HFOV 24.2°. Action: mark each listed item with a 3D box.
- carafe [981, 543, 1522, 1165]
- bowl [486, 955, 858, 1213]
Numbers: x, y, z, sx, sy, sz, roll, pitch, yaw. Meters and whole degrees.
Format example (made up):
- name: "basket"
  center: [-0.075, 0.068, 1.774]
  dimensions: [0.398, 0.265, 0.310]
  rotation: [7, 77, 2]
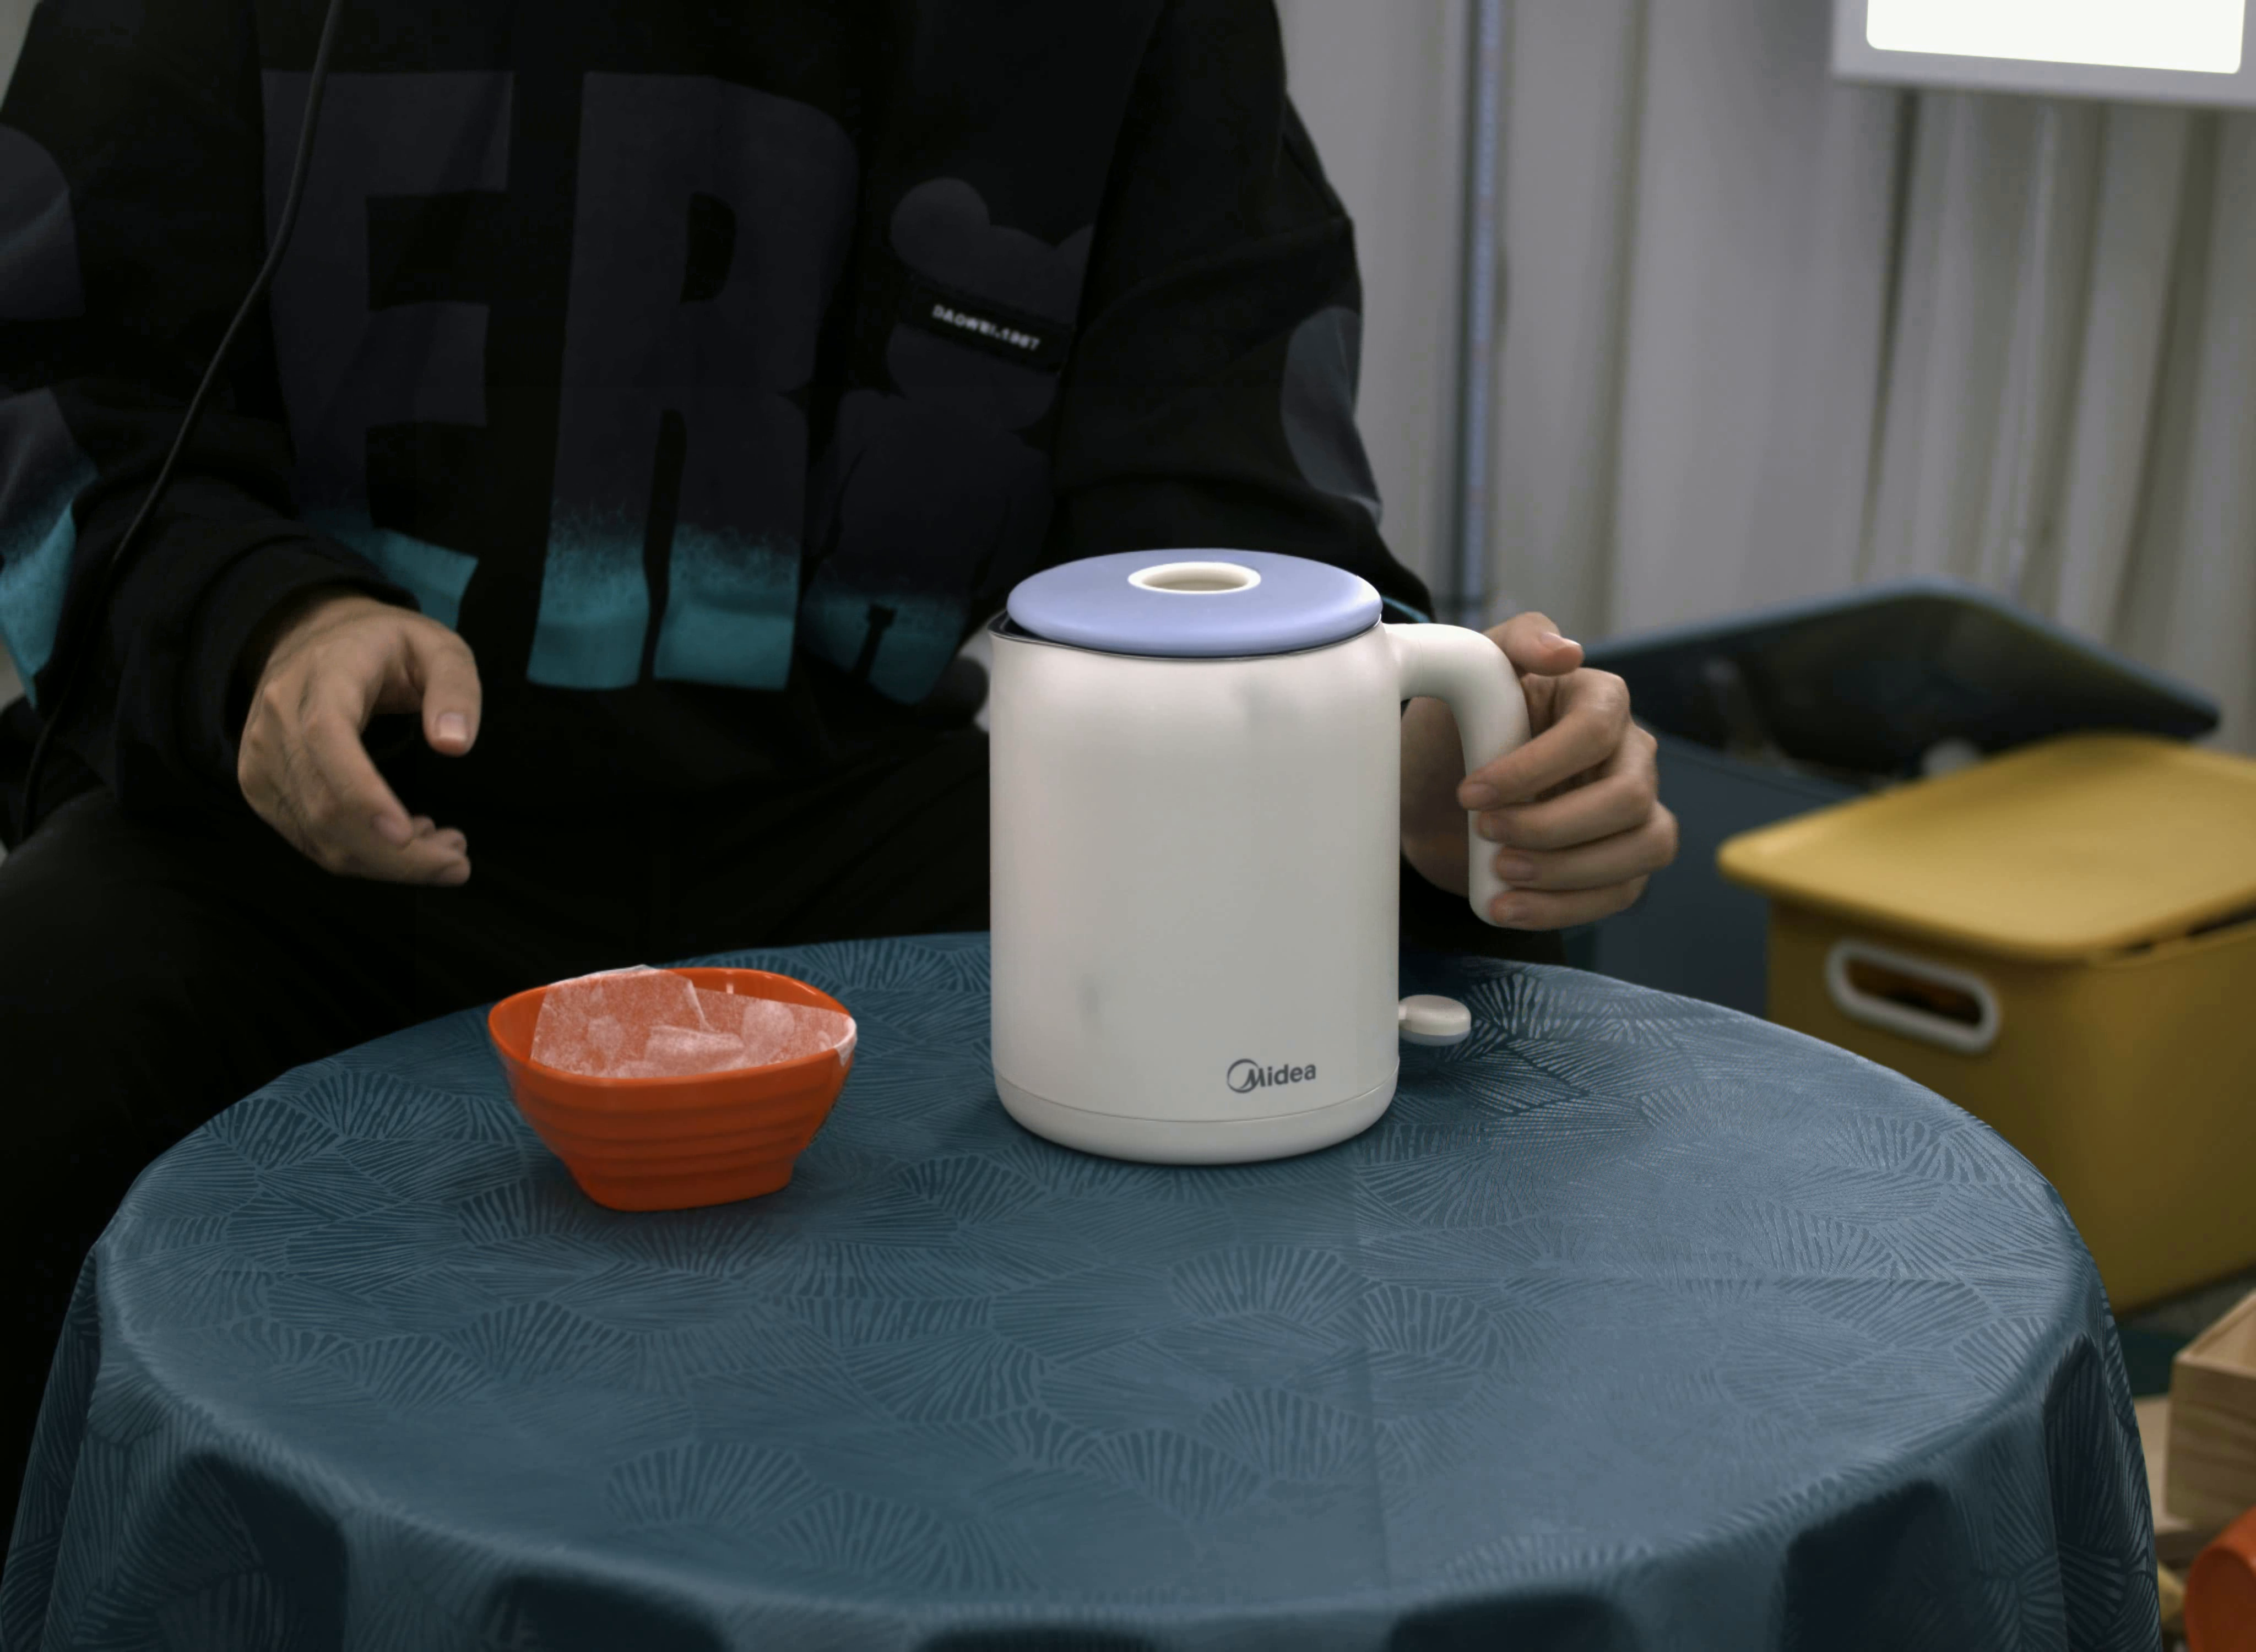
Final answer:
- name: "carafe"
  center: [0.042, 0.006, 1.684]
  dimensions: [0.192, 0.184, 0.130]
  rotation: [-4, 18, -23]
- name: "bowl"
  center: [-0.140, 0.082, 1.625]
  dimensions: [0.118, 0.052, 0.118]
  rotation: [0, 18, 1]
